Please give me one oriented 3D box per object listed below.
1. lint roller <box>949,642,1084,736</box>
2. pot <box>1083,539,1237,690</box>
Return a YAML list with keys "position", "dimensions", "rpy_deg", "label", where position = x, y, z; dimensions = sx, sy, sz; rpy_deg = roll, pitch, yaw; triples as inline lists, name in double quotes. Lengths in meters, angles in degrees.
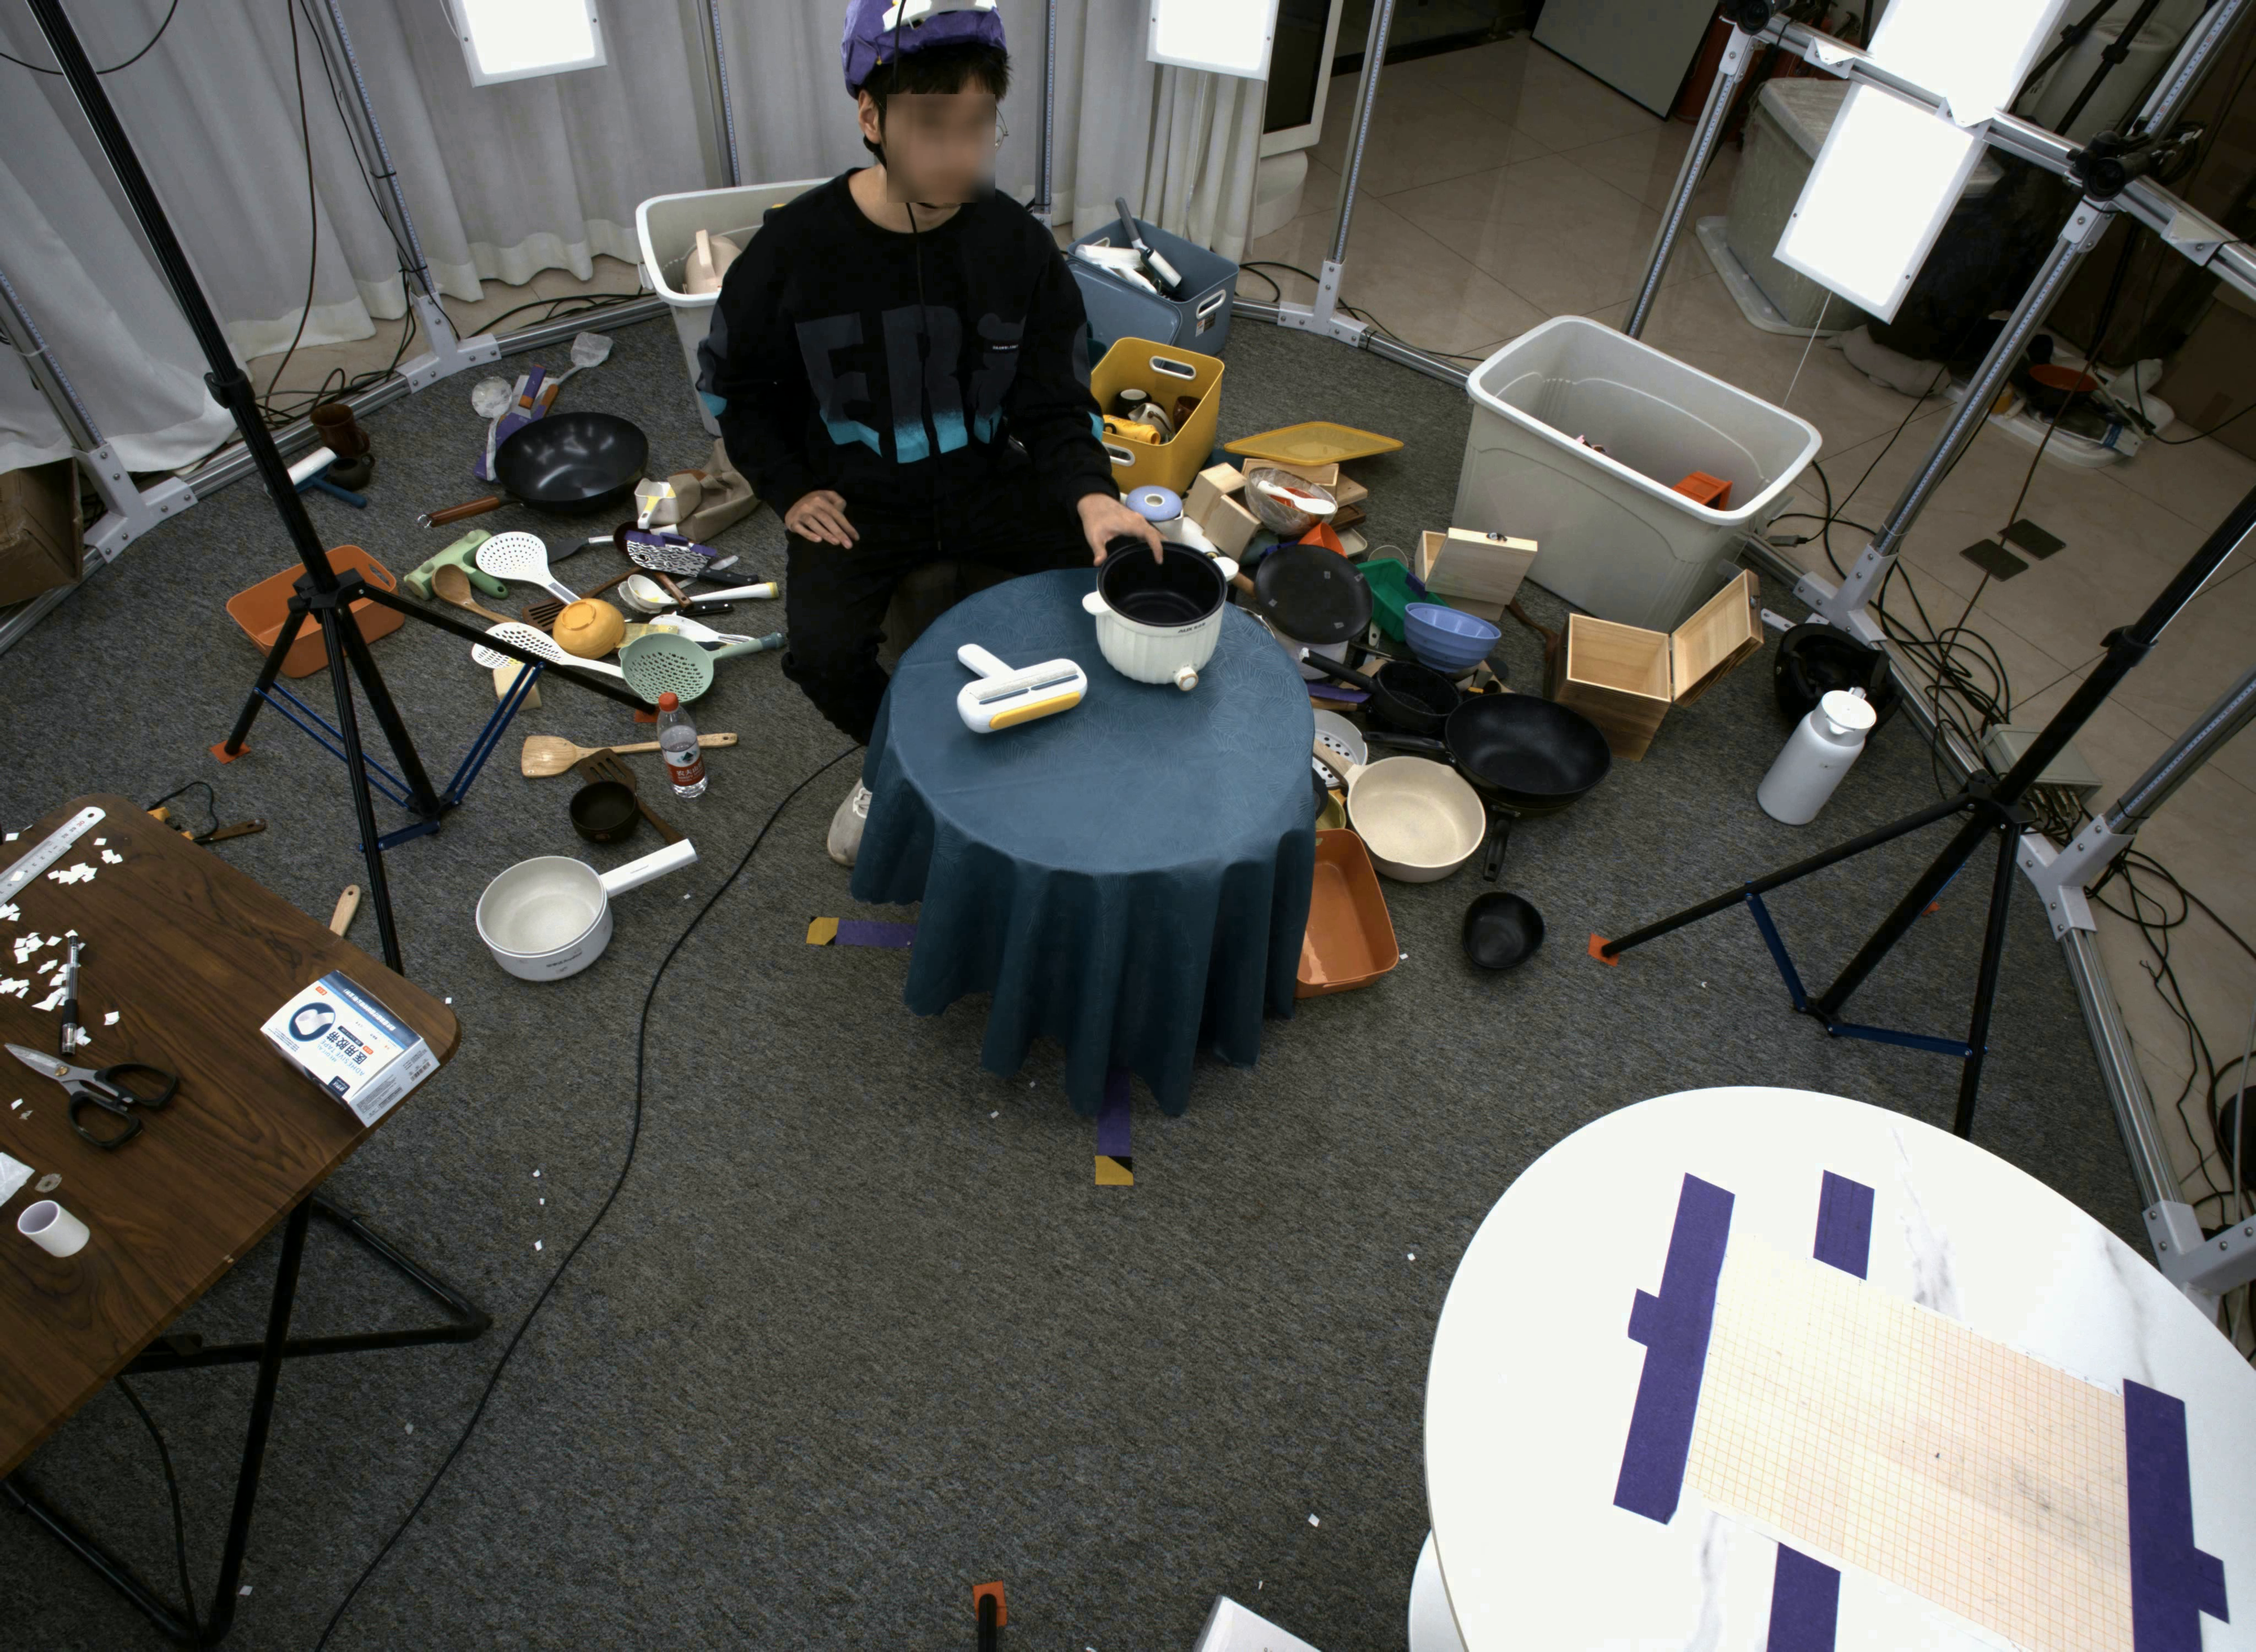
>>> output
- position: [-0.181, -0.210, 1.795]
  dimensions: [0.193, 0.072, 0.196]
  rpy_deg: [-19, 51, -26]
  label: "lint roller"
- position: [0.048, -0.296, 1.837]
  dimensions: [0.241, 0.139, 0.195]
  rpy_deg: [-20, 51, -18]
  label: "pot"
